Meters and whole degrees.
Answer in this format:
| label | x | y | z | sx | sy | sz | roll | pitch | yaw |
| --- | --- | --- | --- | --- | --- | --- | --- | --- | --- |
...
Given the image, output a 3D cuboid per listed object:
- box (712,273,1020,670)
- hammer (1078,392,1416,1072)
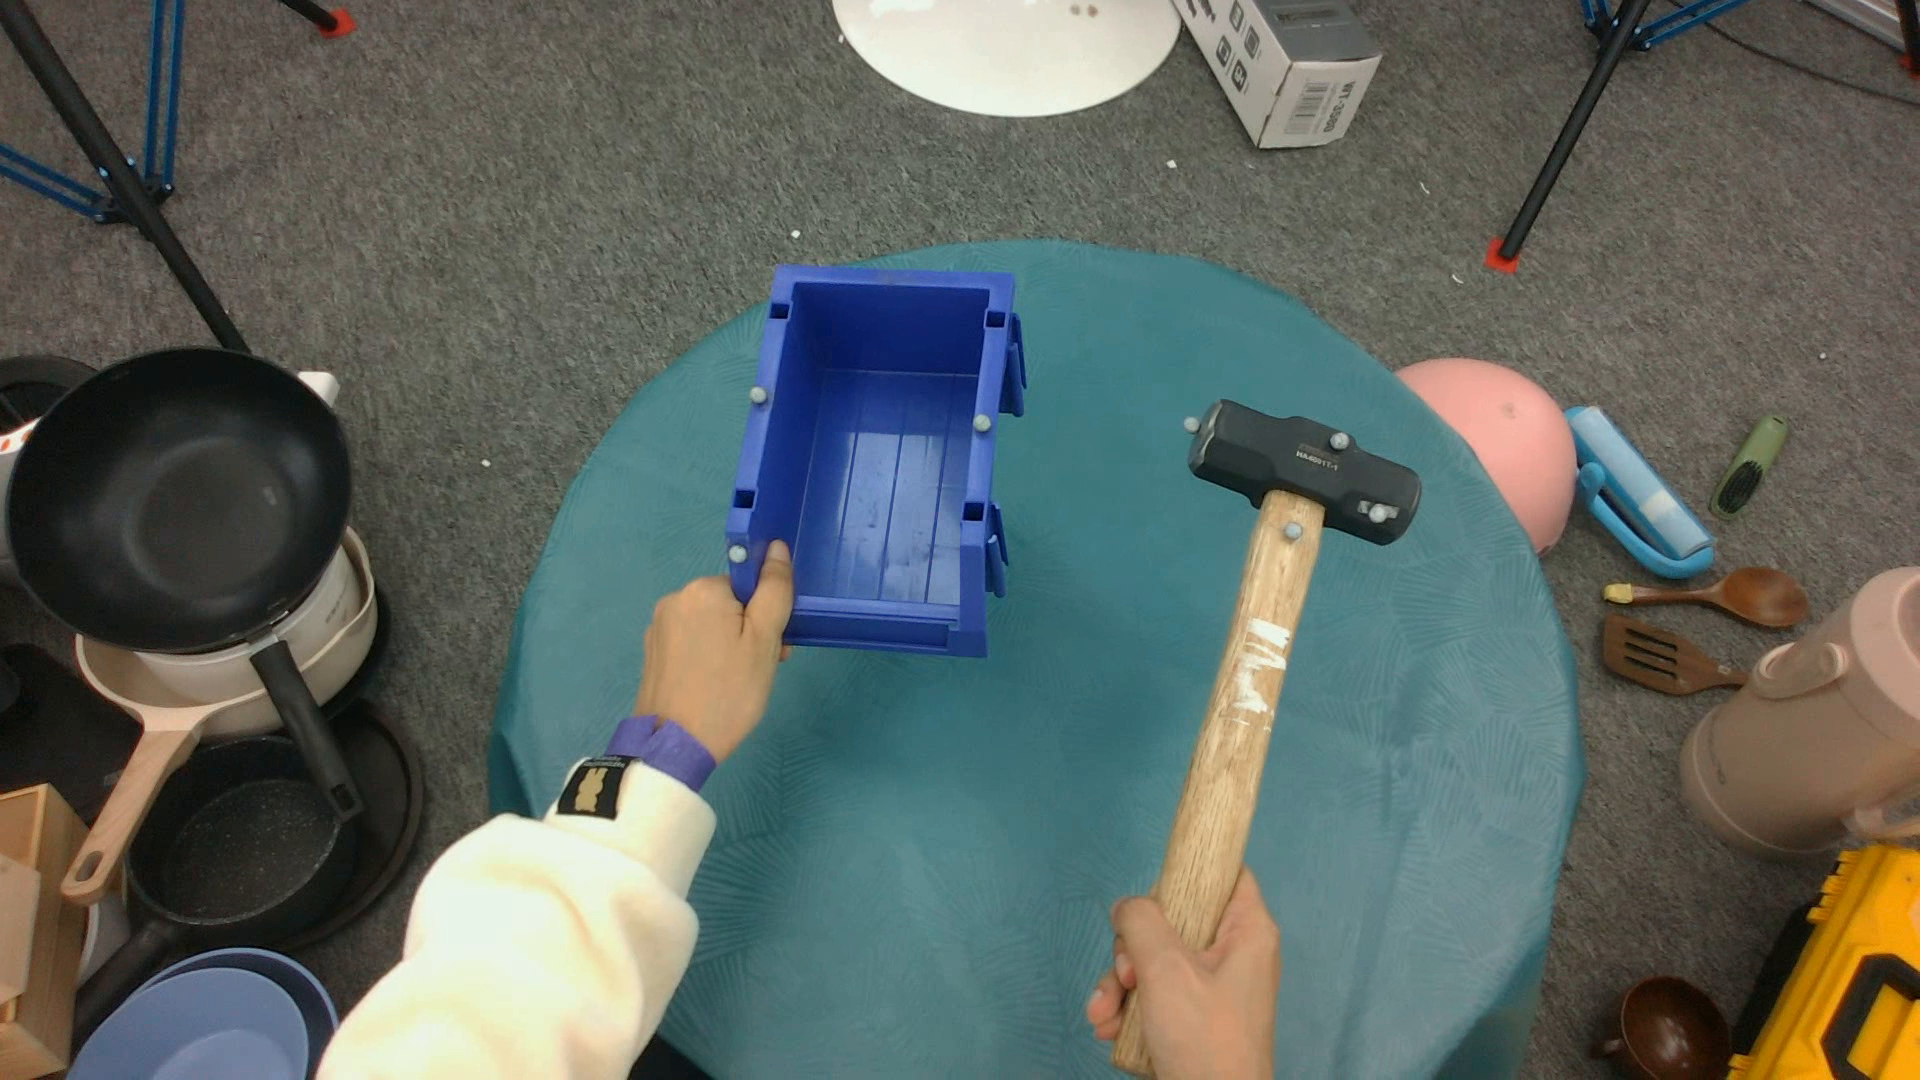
| label | x | y | z | sx | sy | sz | roll | pitch | yaw |
| --- | --- | --- | --- | --- | --- | --- | --- | --- | --- |
| box | -0.041 | -0.032 | 0.672 | 0.124 | 0.081 | 0.180 | 4 | 62 | 7 |
| hammer | 0.116 | 0.078 | 0.610 | 0.107 | 0.038 | 0.306 | 23 | 66 | 0 |
